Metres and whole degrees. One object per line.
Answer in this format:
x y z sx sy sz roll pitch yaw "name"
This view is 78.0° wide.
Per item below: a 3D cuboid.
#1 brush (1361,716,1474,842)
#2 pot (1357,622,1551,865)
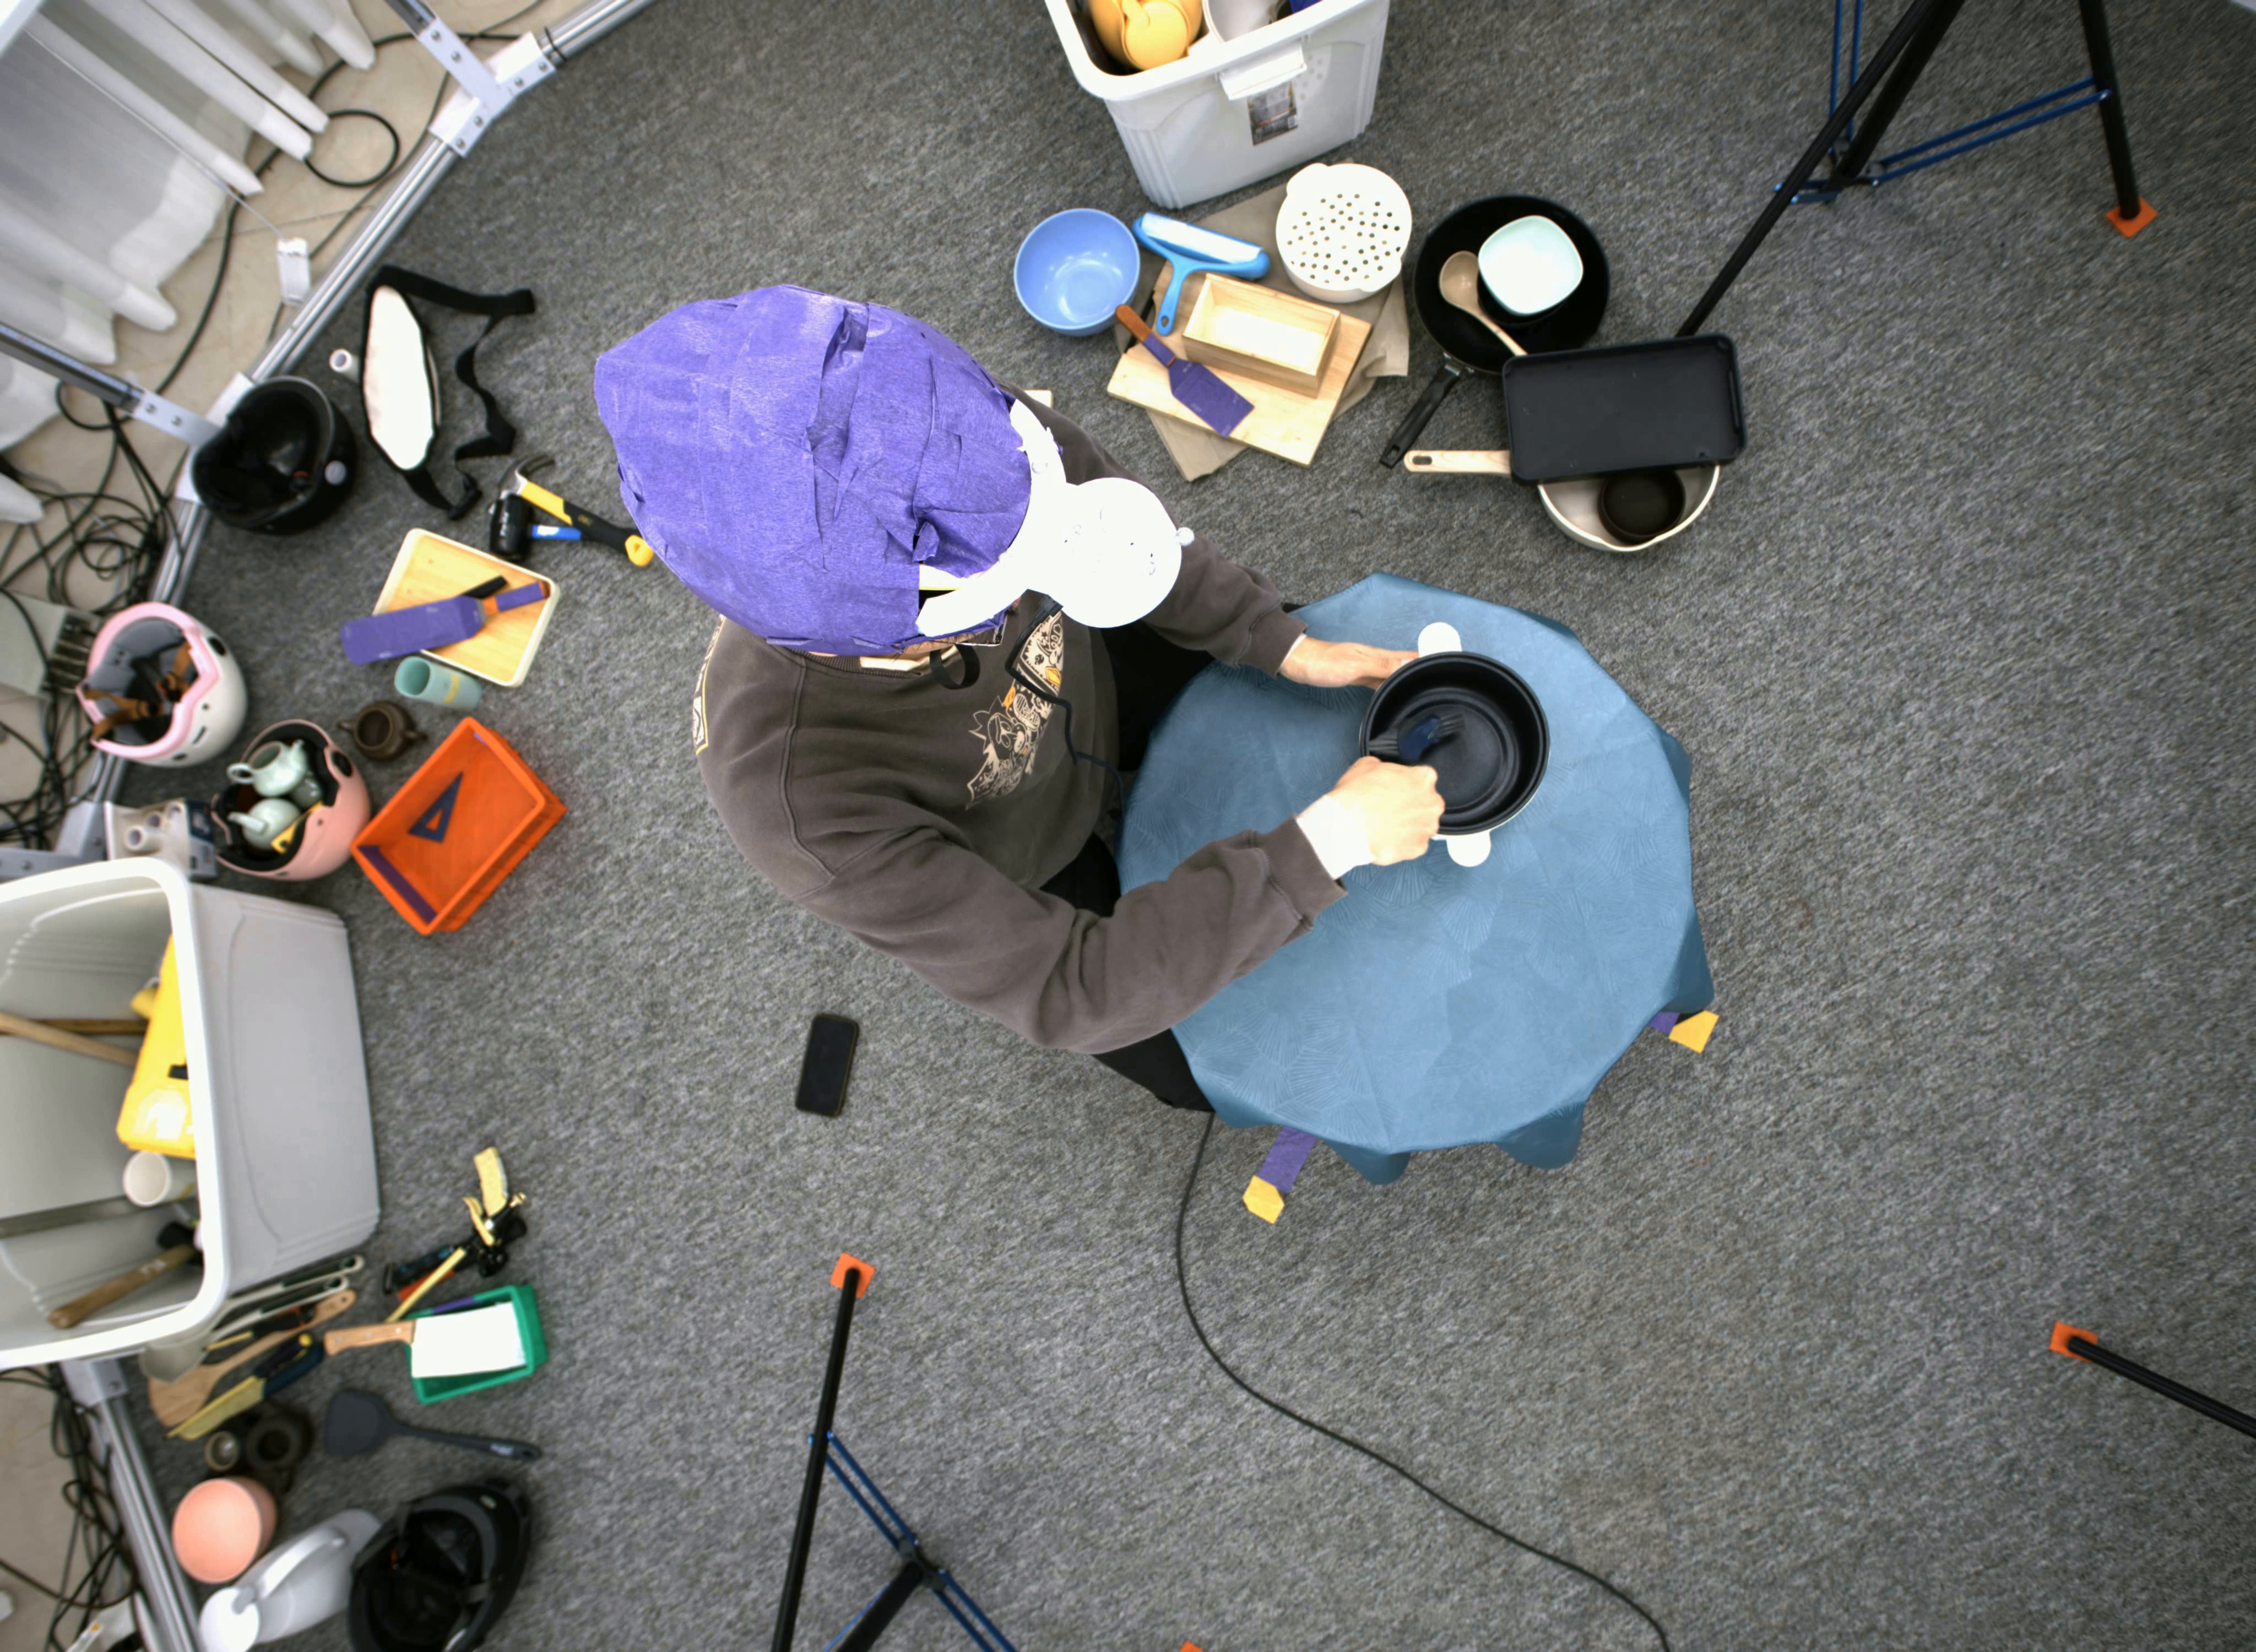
0.266 -0.054 1.270 0.096 0.267 0.034 -1 113 17 "brush"
0.329 -0.080 1.382 0.192 0.142 0.239 -9 87 14 "pot"
